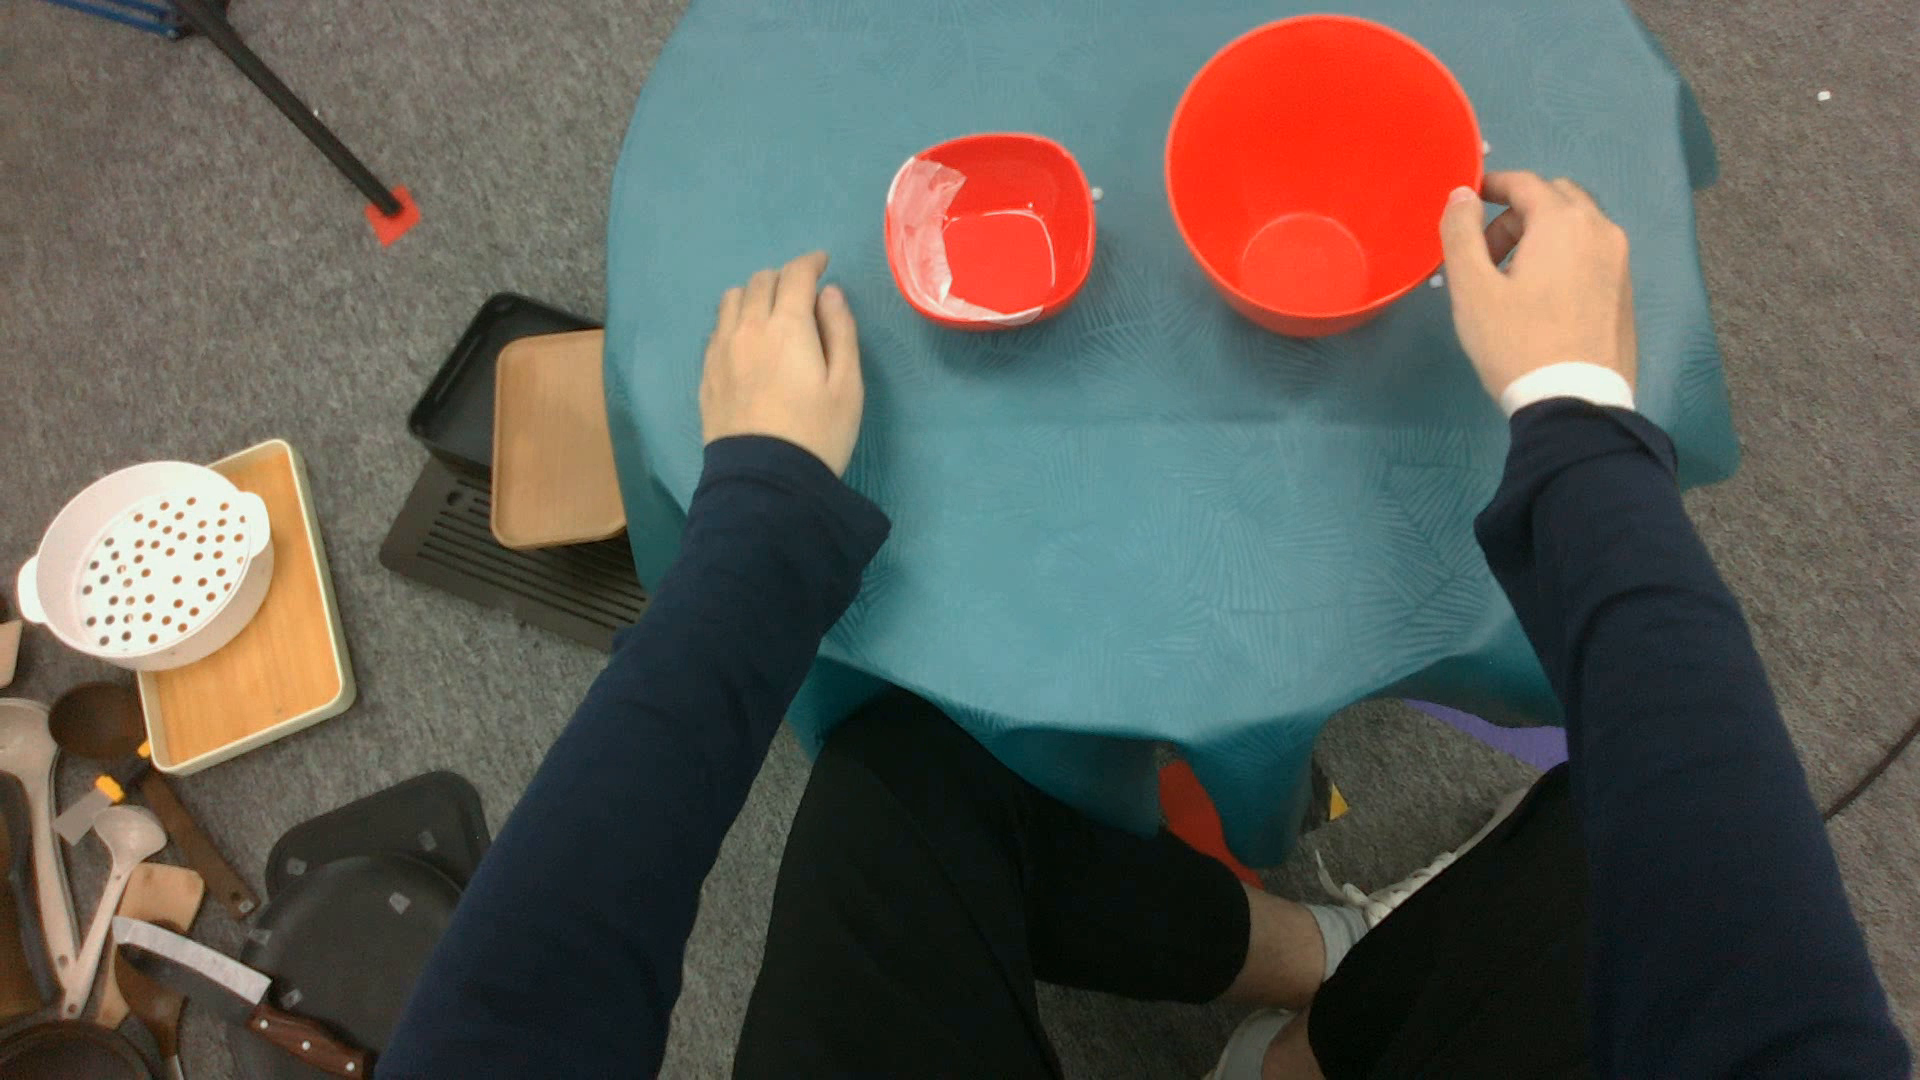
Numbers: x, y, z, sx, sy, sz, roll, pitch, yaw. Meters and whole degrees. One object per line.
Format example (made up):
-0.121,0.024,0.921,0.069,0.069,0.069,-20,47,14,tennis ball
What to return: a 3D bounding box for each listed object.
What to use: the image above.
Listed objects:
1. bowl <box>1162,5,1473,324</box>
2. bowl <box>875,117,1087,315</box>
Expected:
0.175,-0.176,0.699,0.148,0.104,0.148,-1,73,5,bowl
0.012,-0.165,0.738,0.119,0.051,0.119,-1,74,4,bowl
